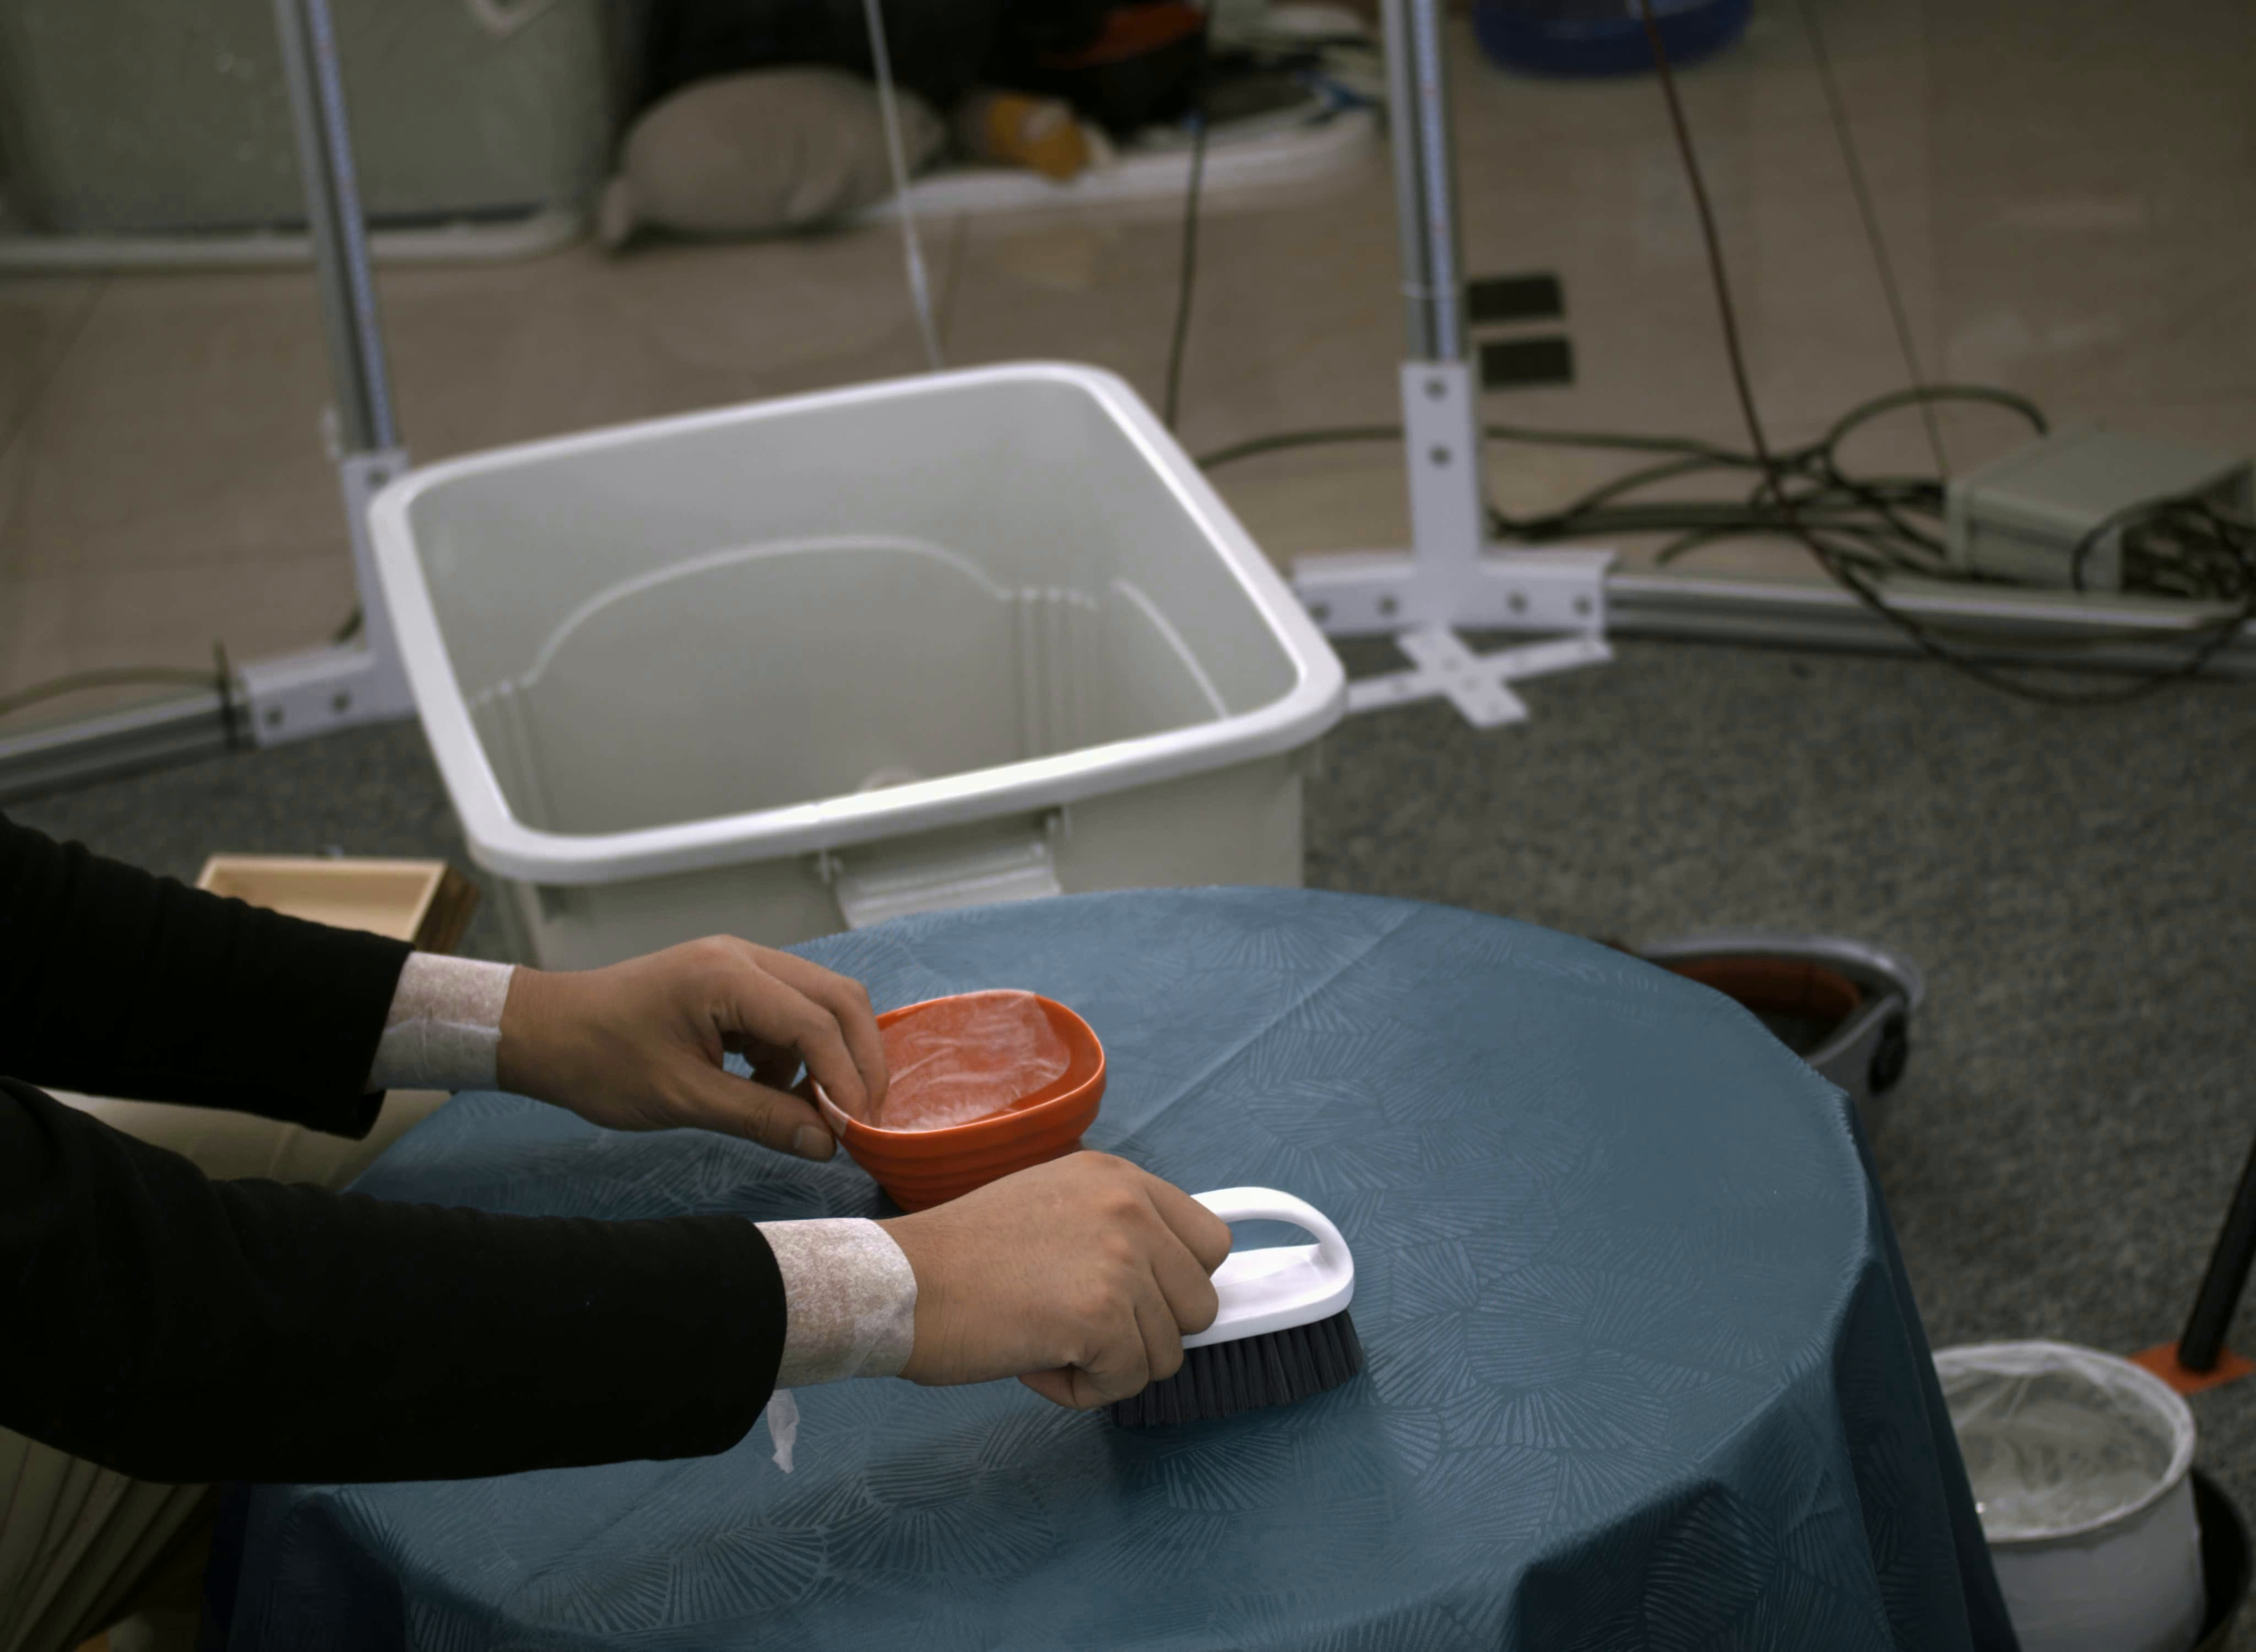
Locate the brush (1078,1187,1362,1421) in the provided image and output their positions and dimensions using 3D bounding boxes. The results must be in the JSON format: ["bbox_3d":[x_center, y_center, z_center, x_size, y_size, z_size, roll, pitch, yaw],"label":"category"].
[{"bbox_3d":[0.030,0.163,2.000,0.099,0.073,0.049,-10,26,-8],"label":"brush"}]

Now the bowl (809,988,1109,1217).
[{"bbox_3d":[-0.064,0.110,2.162,0.119,0.052,0.117,-2,26,1],"label":"bowl"}]
